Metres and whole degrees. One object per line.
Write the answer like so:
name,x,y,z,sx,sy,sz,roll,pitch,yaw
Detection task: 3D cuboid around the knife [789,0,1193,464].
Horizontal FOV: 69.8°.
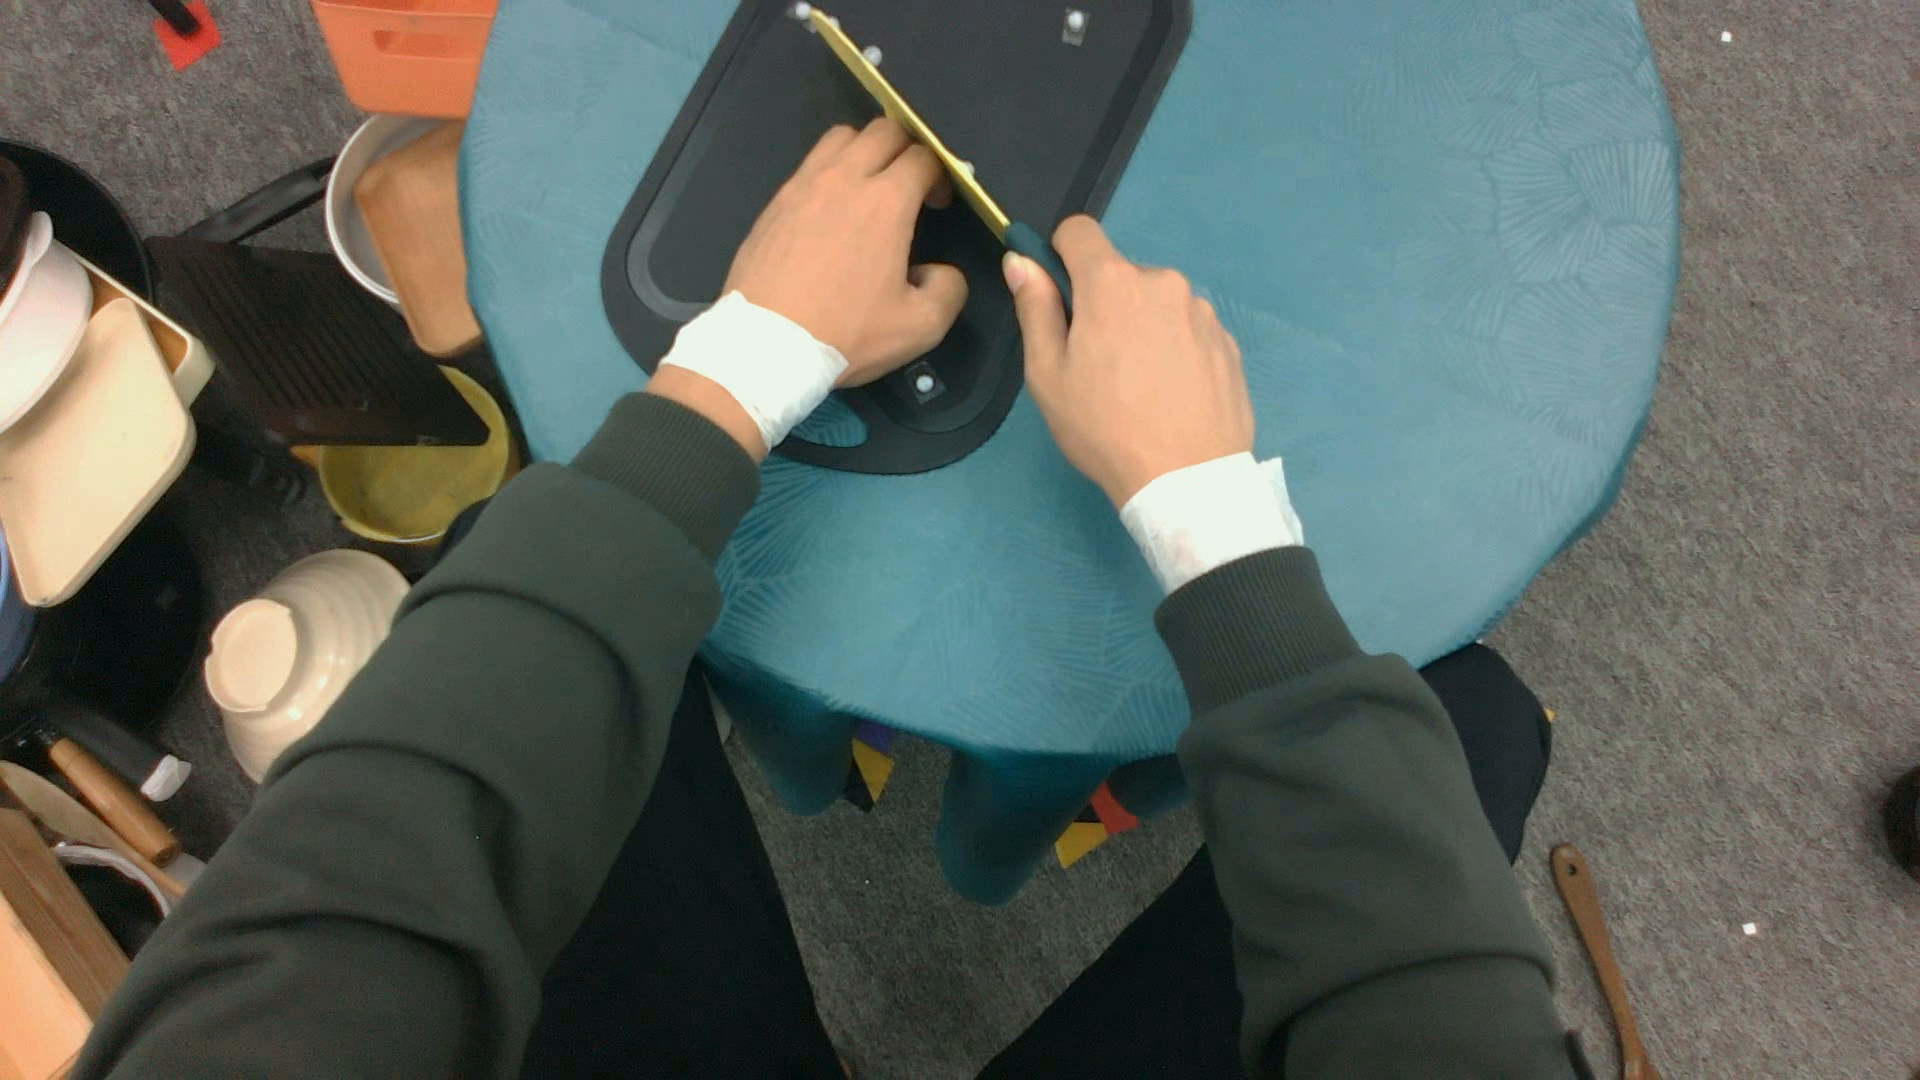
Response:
knife,0.008,-0.147,0.632,0.027,0.081,0.289,-40,80,6

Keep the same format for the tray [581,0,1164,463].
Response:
tray,-0.041,-0.195,0.676,0.211,0.010,0.326,24,77,3
